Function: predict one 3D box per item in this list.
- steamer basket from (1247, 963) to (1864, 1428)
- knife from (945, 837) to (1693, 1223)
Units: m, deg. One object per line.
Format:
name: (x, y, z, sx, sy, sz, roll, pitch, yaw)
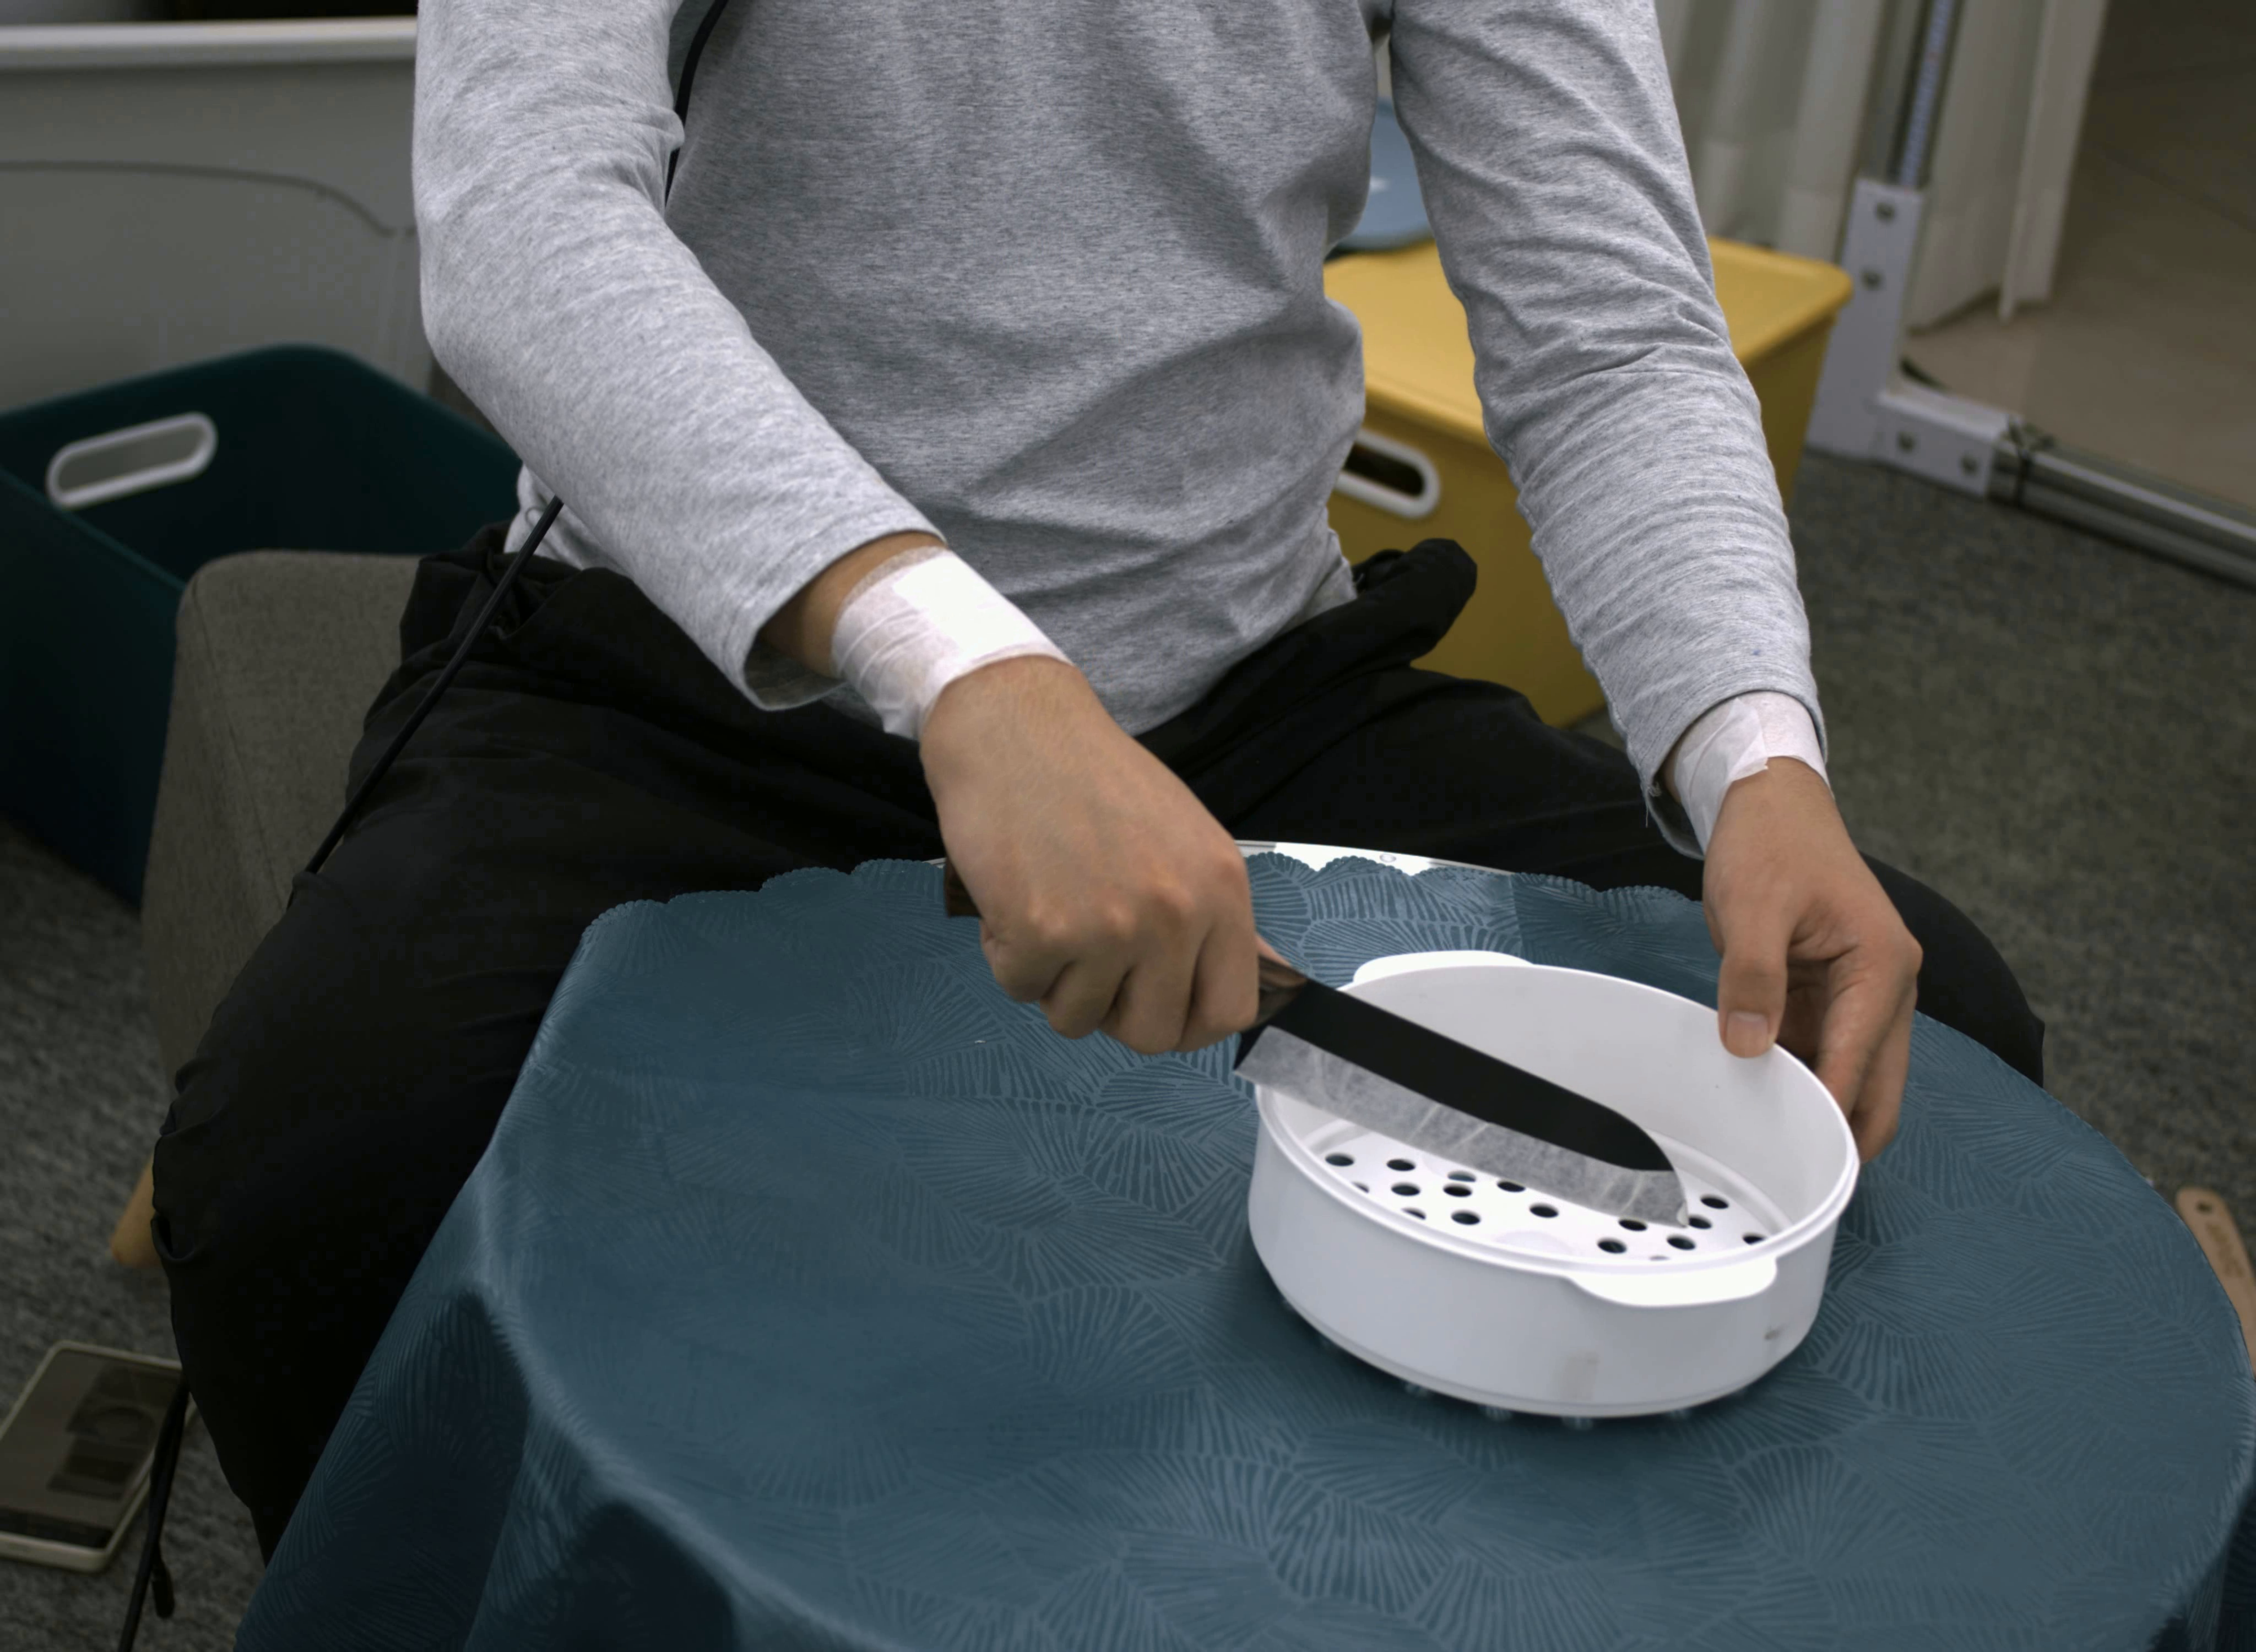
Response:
steamer basket: (0.139, 0.124, 1.763, 0.200, 0.069, 0.232, -3, 27, -19)
knife: (0.065, 0.070, 1.734, 0.287, 0.050, 0.020, 26, 30, -16)
